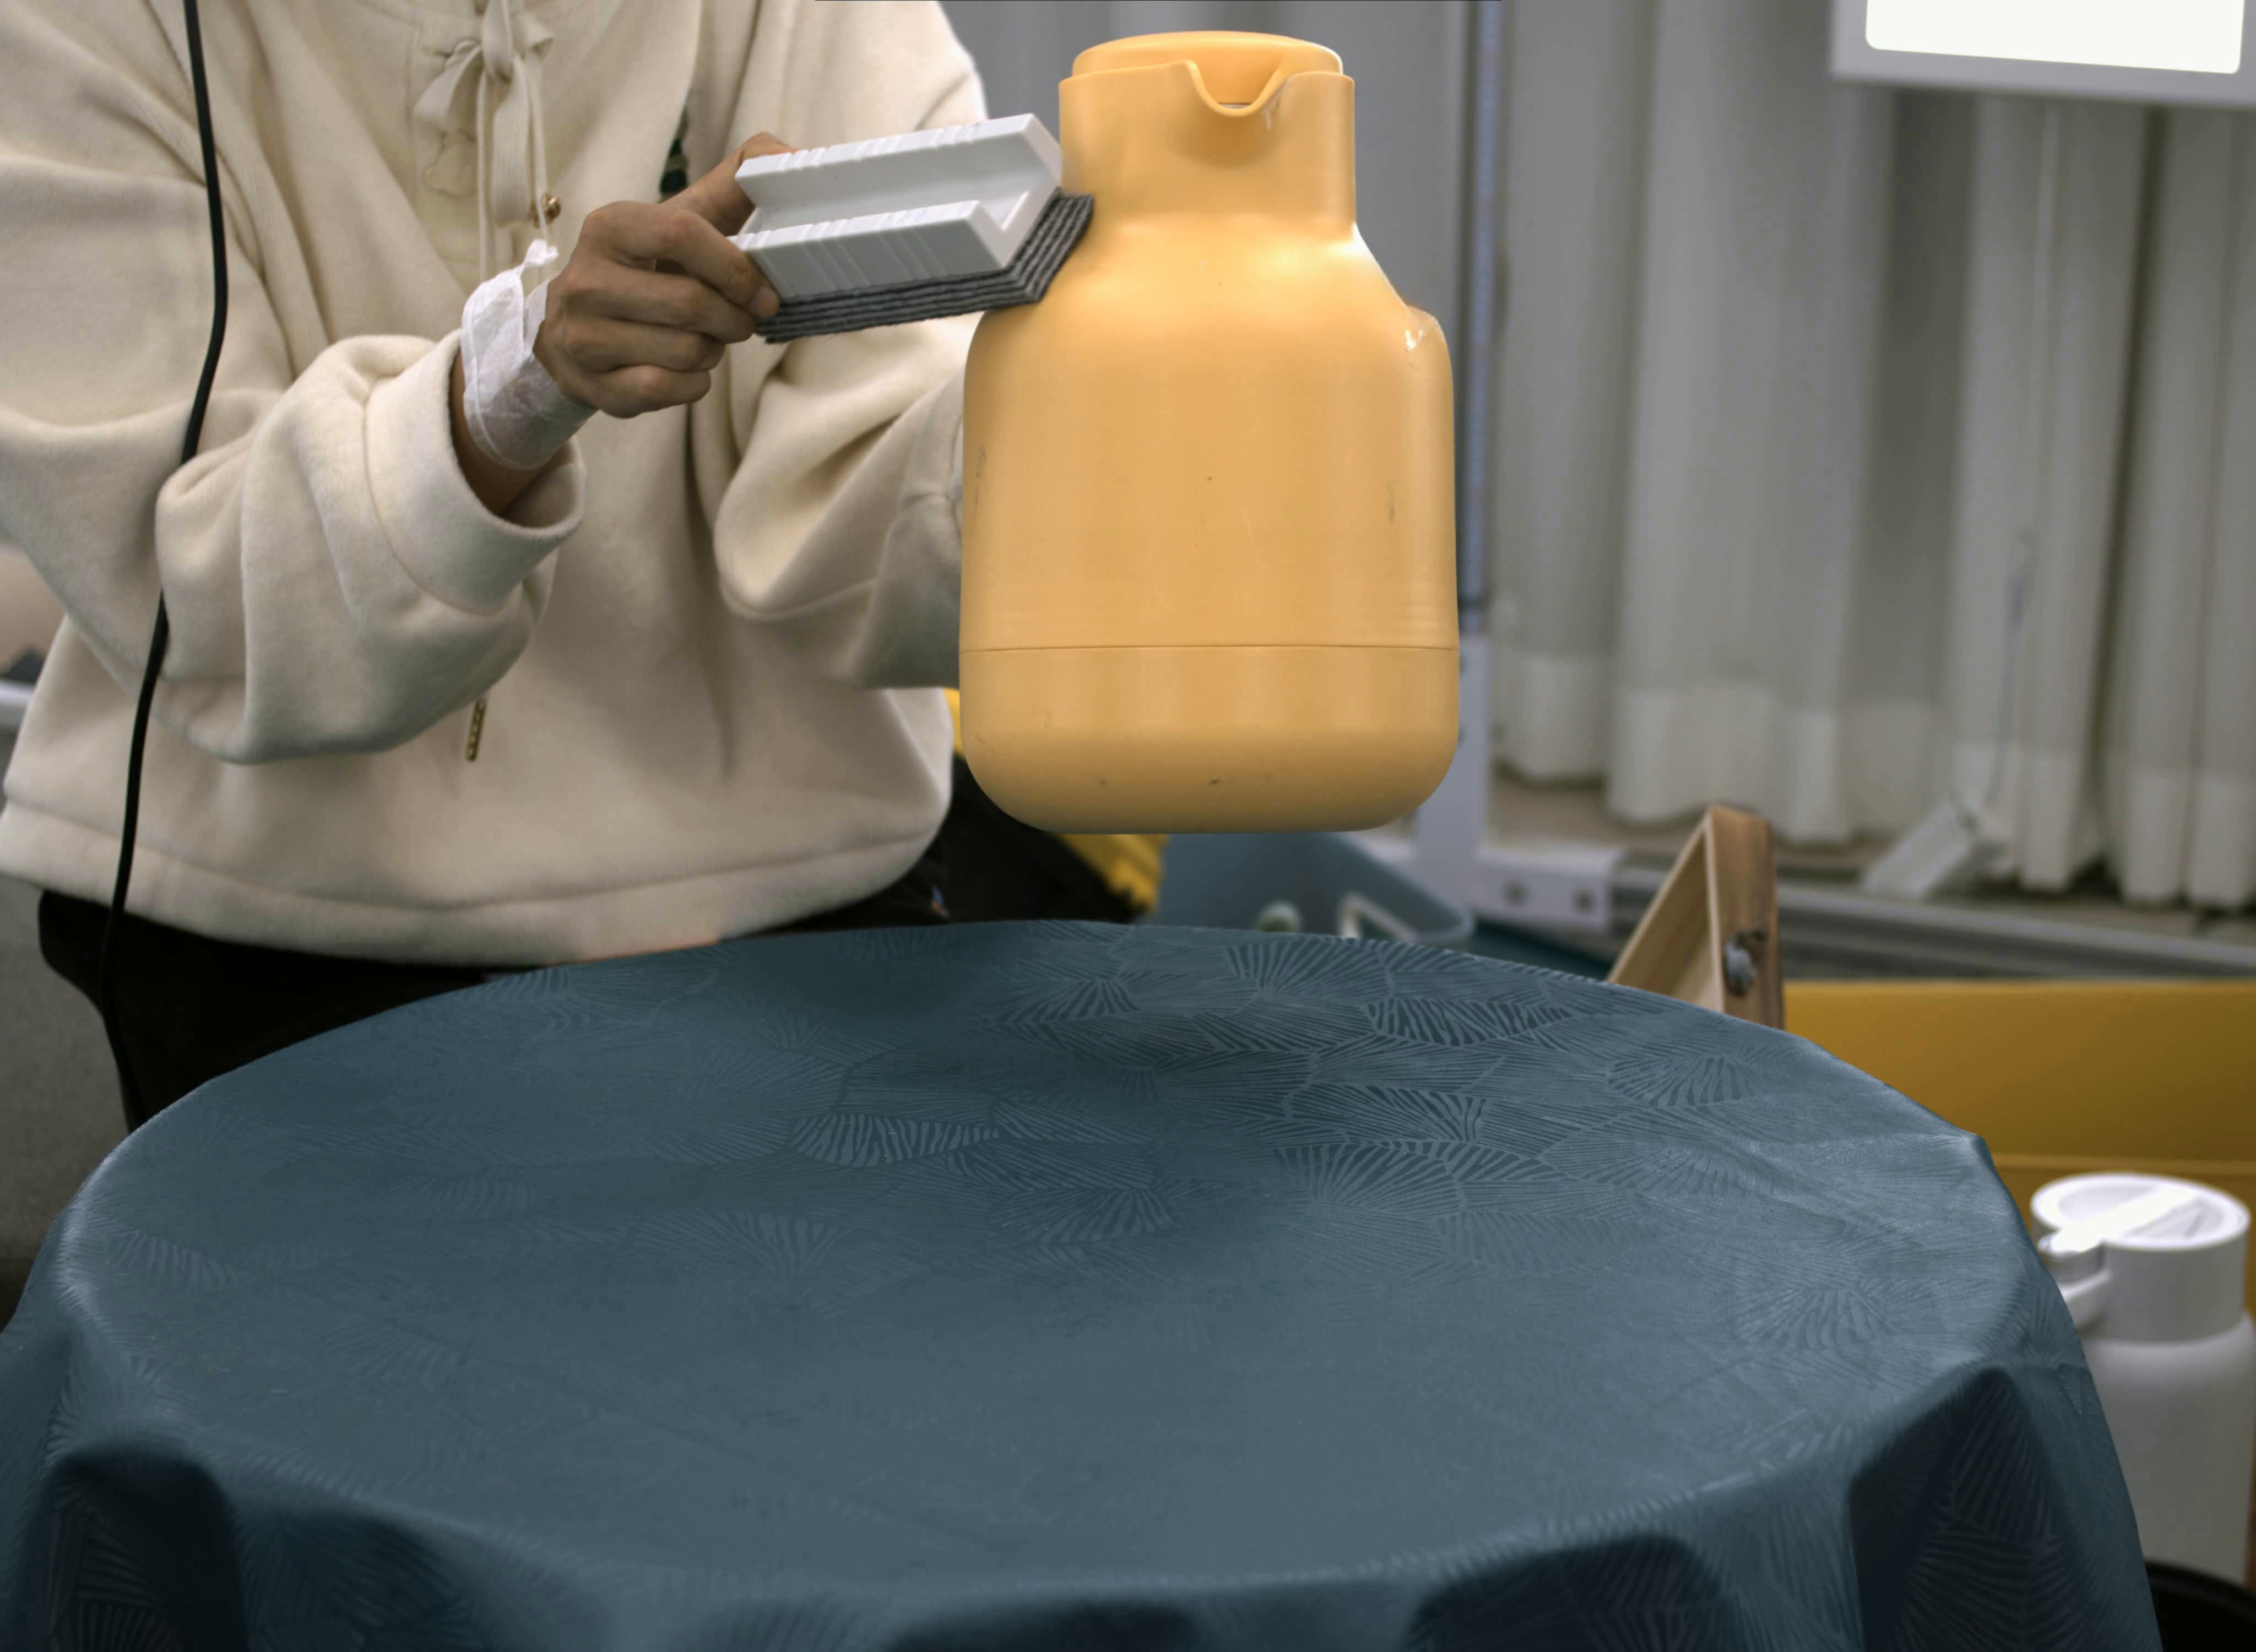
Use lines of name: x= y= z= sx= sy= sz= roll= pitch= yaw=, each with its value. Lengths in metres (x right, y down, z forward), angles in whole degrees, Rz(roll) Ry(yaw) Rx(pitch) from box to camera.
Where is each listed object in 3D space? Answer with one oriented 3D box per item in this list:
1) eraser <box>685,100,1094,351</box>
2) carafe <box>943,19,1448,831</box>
eraser: x=-0.077 y=-0.193 z=1.703 sx=0.133 sy=0.047 sz=0.049 roll=-5 pitch=50 yaw=41
carafe: x=0.024 y=-0.130 z=1.733 sx=0.163 sy=0.261 sz=0.202 roll=3 pitch=2 yaw=-5
